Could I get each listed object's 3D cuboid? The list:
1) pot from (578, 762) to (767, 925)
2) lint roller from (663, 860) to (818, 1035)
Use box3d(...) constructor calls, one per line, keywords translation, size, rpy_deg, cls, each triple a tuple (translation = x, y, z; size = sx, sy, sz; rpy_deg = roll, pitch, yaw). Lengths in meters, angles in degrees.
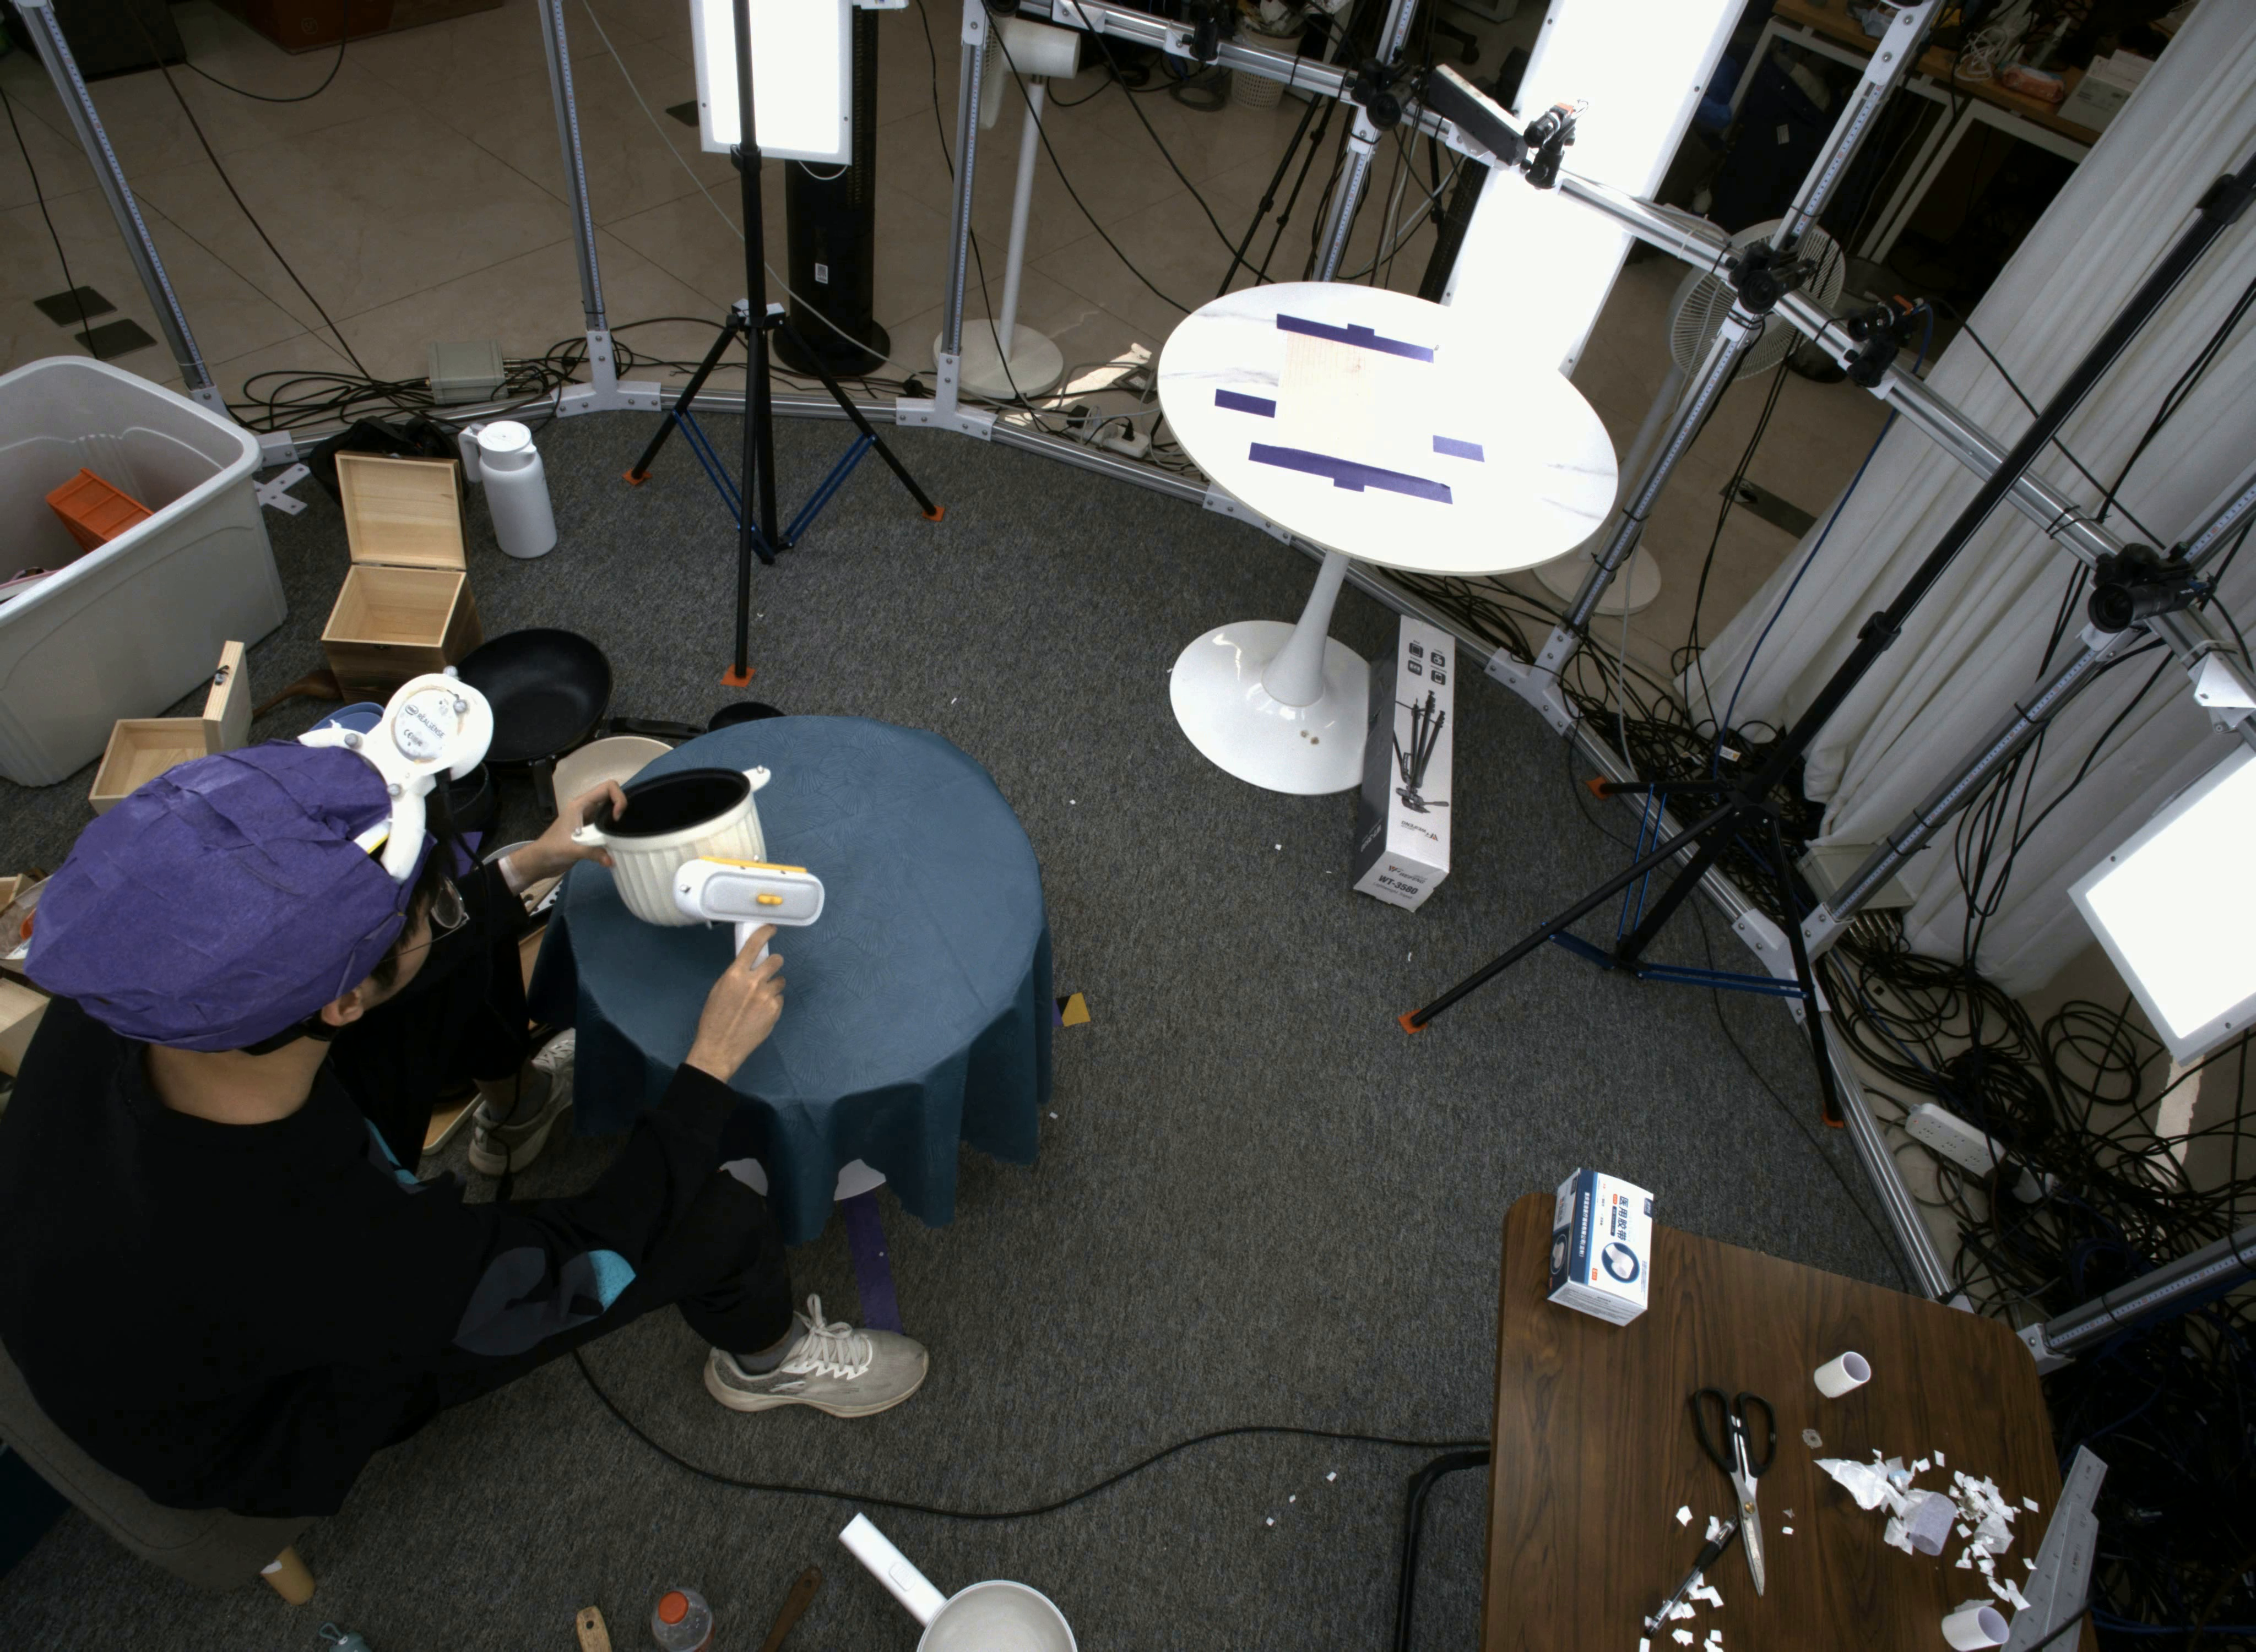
box3d(translation=(-0.528, 0.022, 1.529), size=(0.242, 0.147, 0.183), rpy_deg=(-23, 34, -31), cls="pot")
box3d(translation=(-0.430, 0.135, 1.463), size=(0.197, 0.072, 0.194), rpy_deg=(4, 85, -58), cls="lint roller")
